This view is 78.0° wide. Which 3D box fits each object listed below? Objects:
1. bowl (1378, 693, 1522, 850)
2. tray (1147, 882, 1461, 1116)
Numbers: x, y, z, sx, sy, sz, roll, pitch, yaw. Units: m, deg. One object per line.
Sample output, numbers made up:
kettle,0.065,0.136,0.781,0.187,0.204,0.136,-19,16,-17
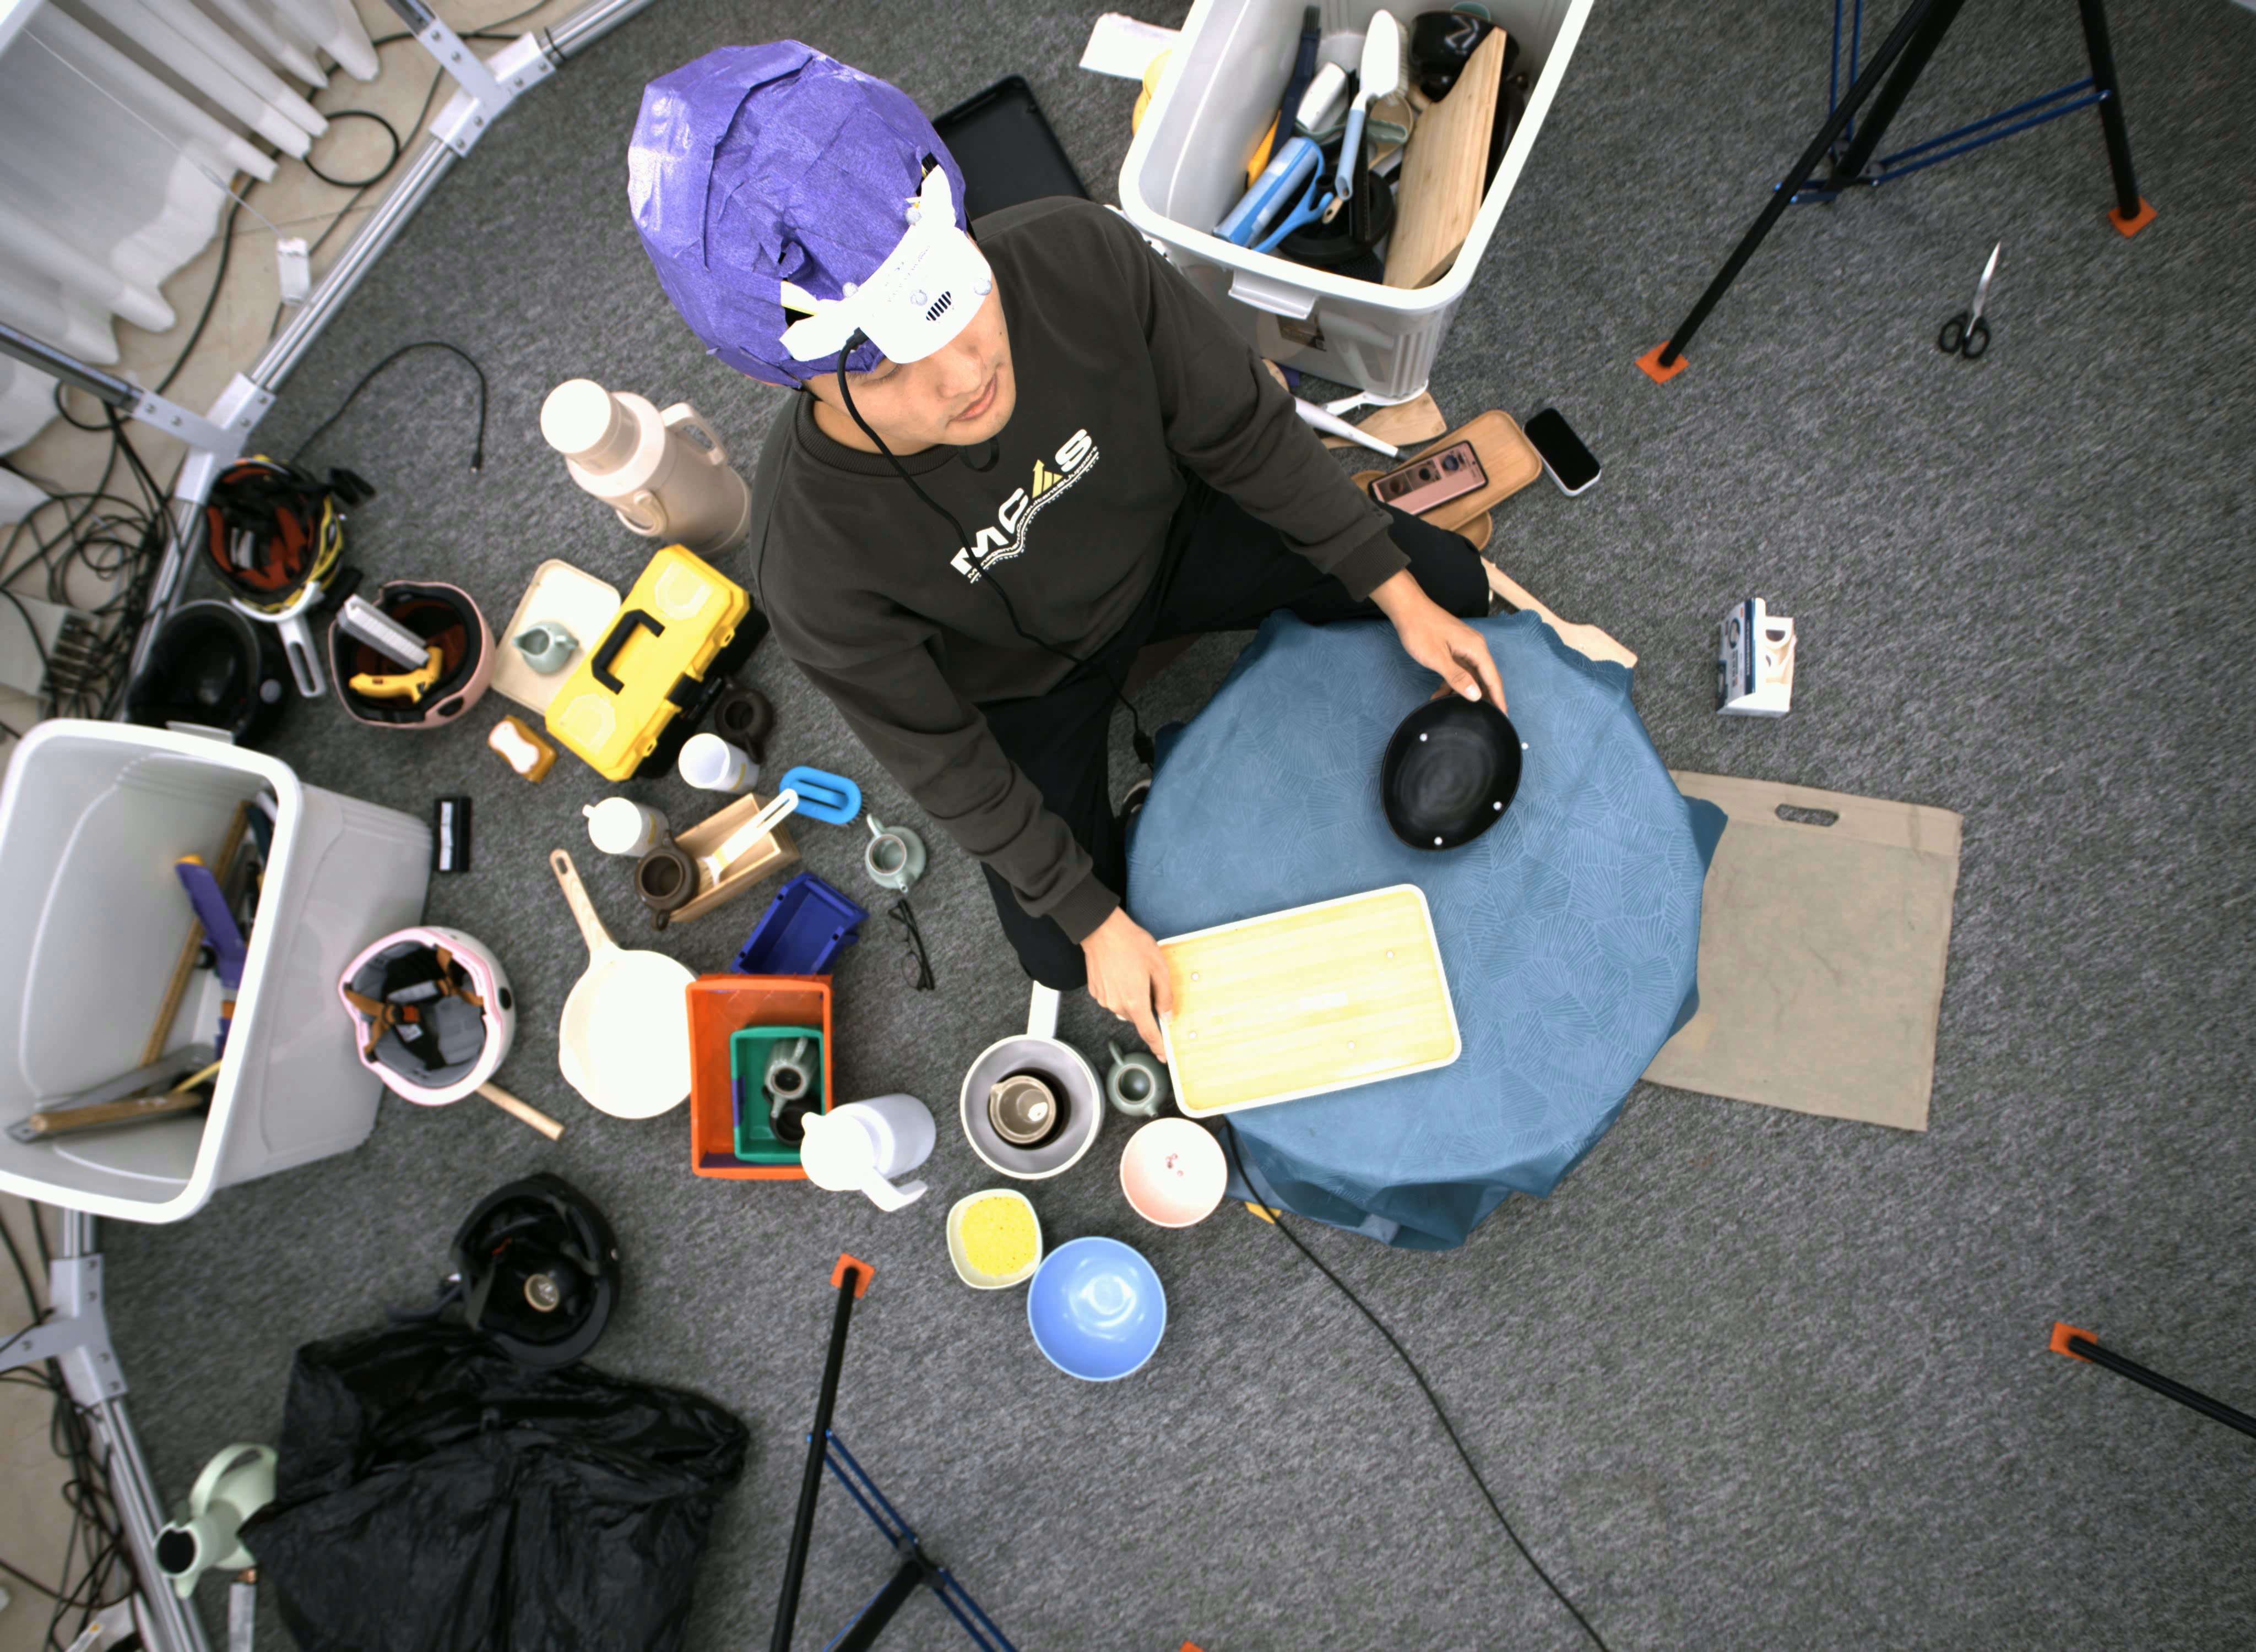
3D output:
bowl,0.332,-0.054,1.424,0.137,0.066,0.170,27,93,13
tray,0.182,0.181,1.456,0.302,0.027,0.190,-14,84,9
